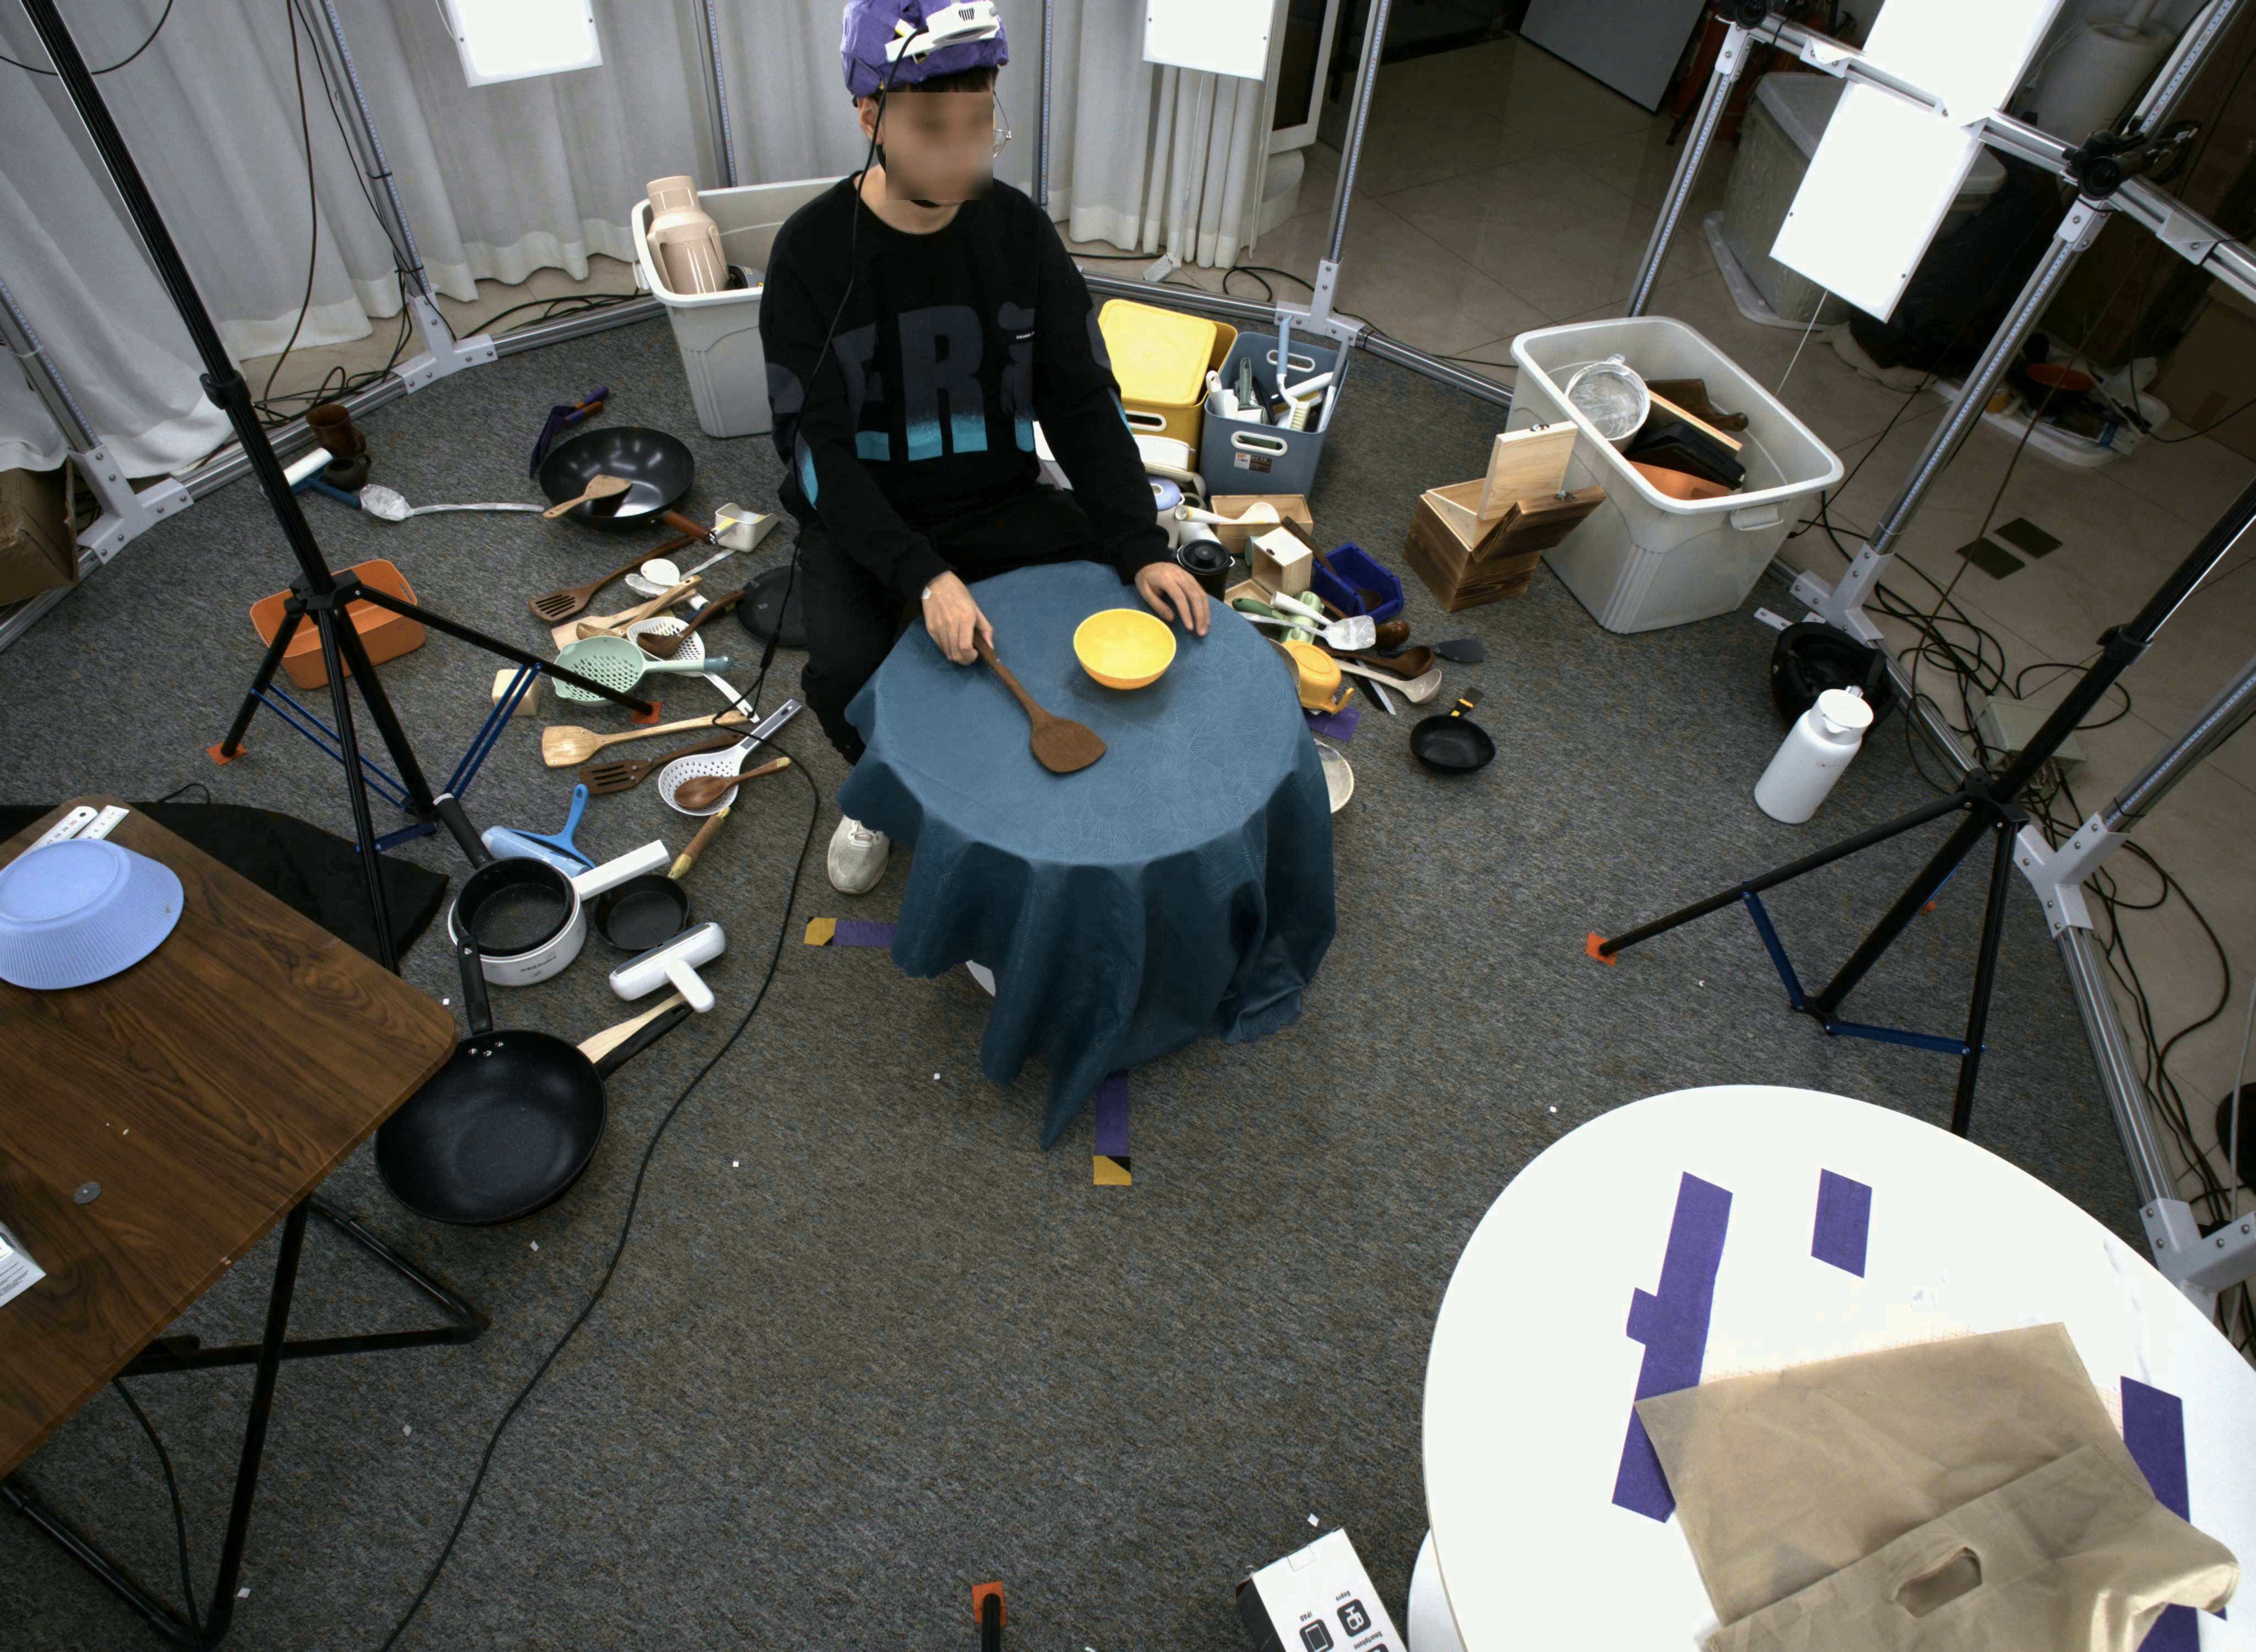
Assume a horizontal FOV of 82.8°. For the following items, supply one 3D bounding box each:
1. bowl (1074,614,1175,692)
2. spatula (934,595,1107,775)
[{"bbox_3d":[-0.007,-0.239,1.857,0.145,0.058,0.149,3,47,-4],"label":"bowl"},{"bbox_3d":[-0.170,-0.211,1.833,0.096,0.015,0.393,-26,60,-26],"label":"spatula"}]
